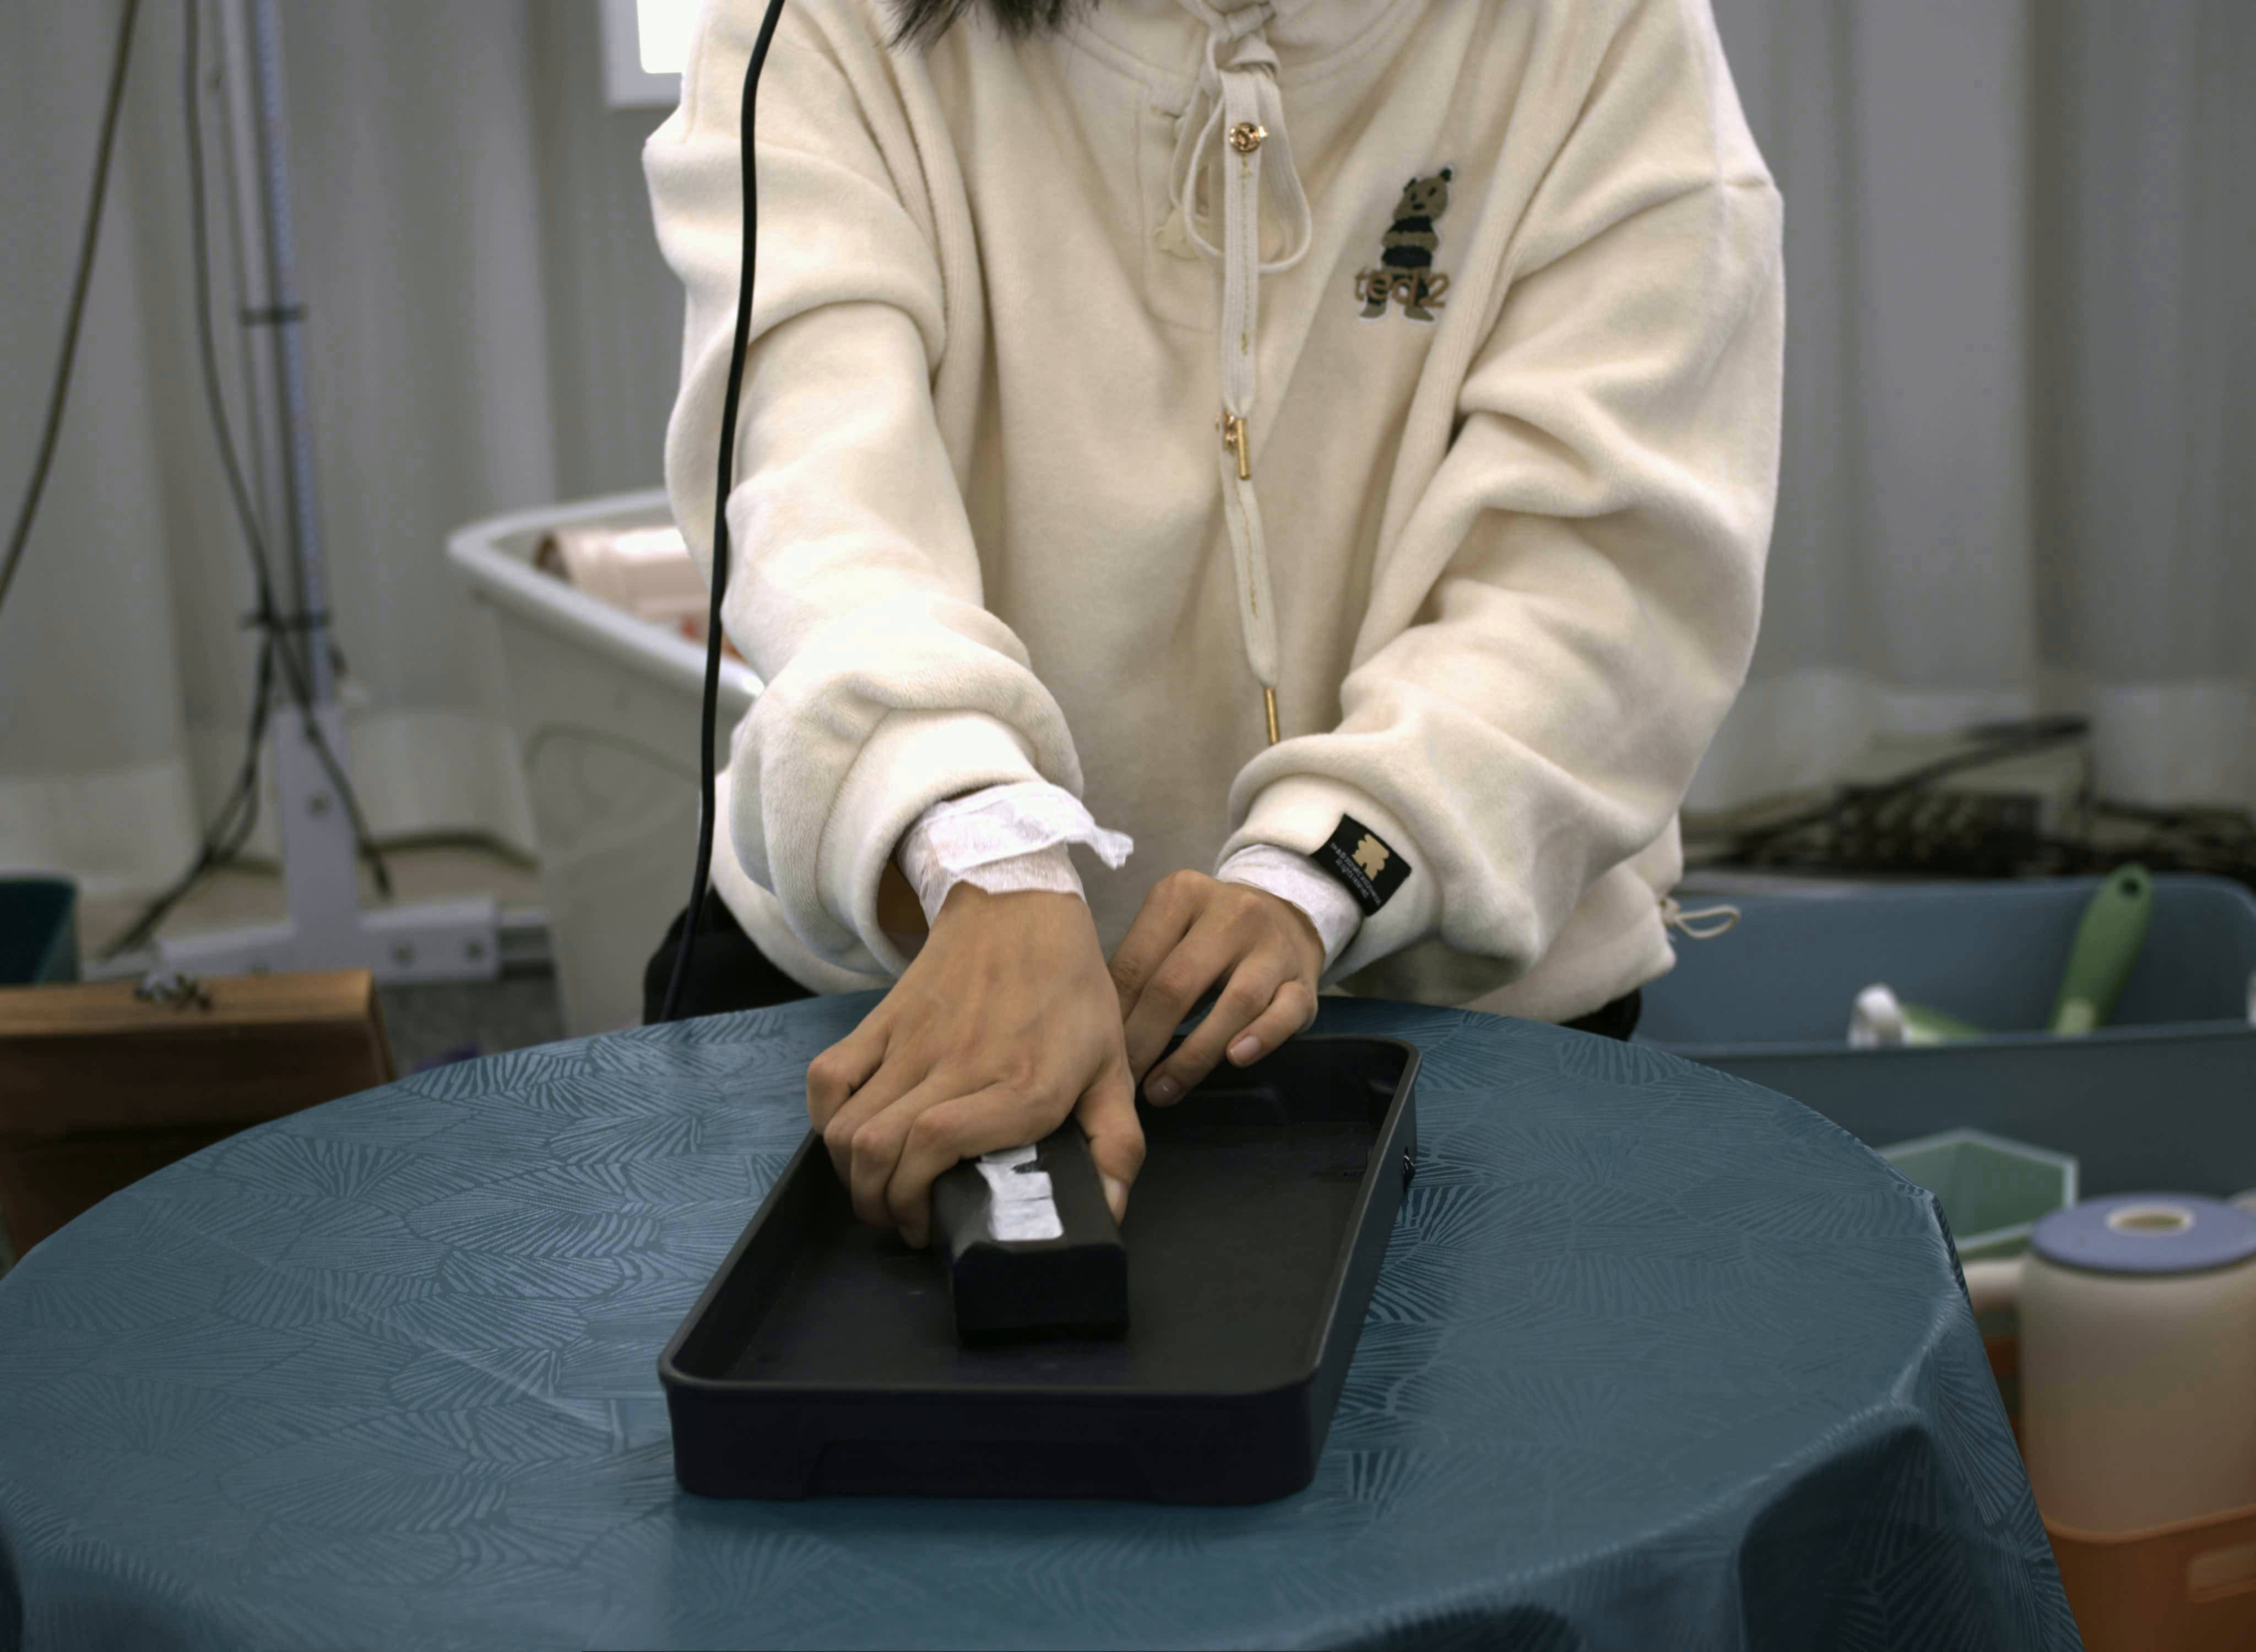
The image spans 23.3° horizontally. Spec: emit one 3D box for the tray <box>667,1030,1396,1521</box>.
[{"bbox_3d":[-0.020,0.126,1.601,0.184,0.037,0.320,-1,15,6],"label":"tray"}]

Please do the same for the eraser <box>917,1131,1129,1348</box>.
[{"bbox_3d":[-0.032,0.122,1.624,0.053,0.030,0.126,0,14,-6],"label":"eraser"}]
